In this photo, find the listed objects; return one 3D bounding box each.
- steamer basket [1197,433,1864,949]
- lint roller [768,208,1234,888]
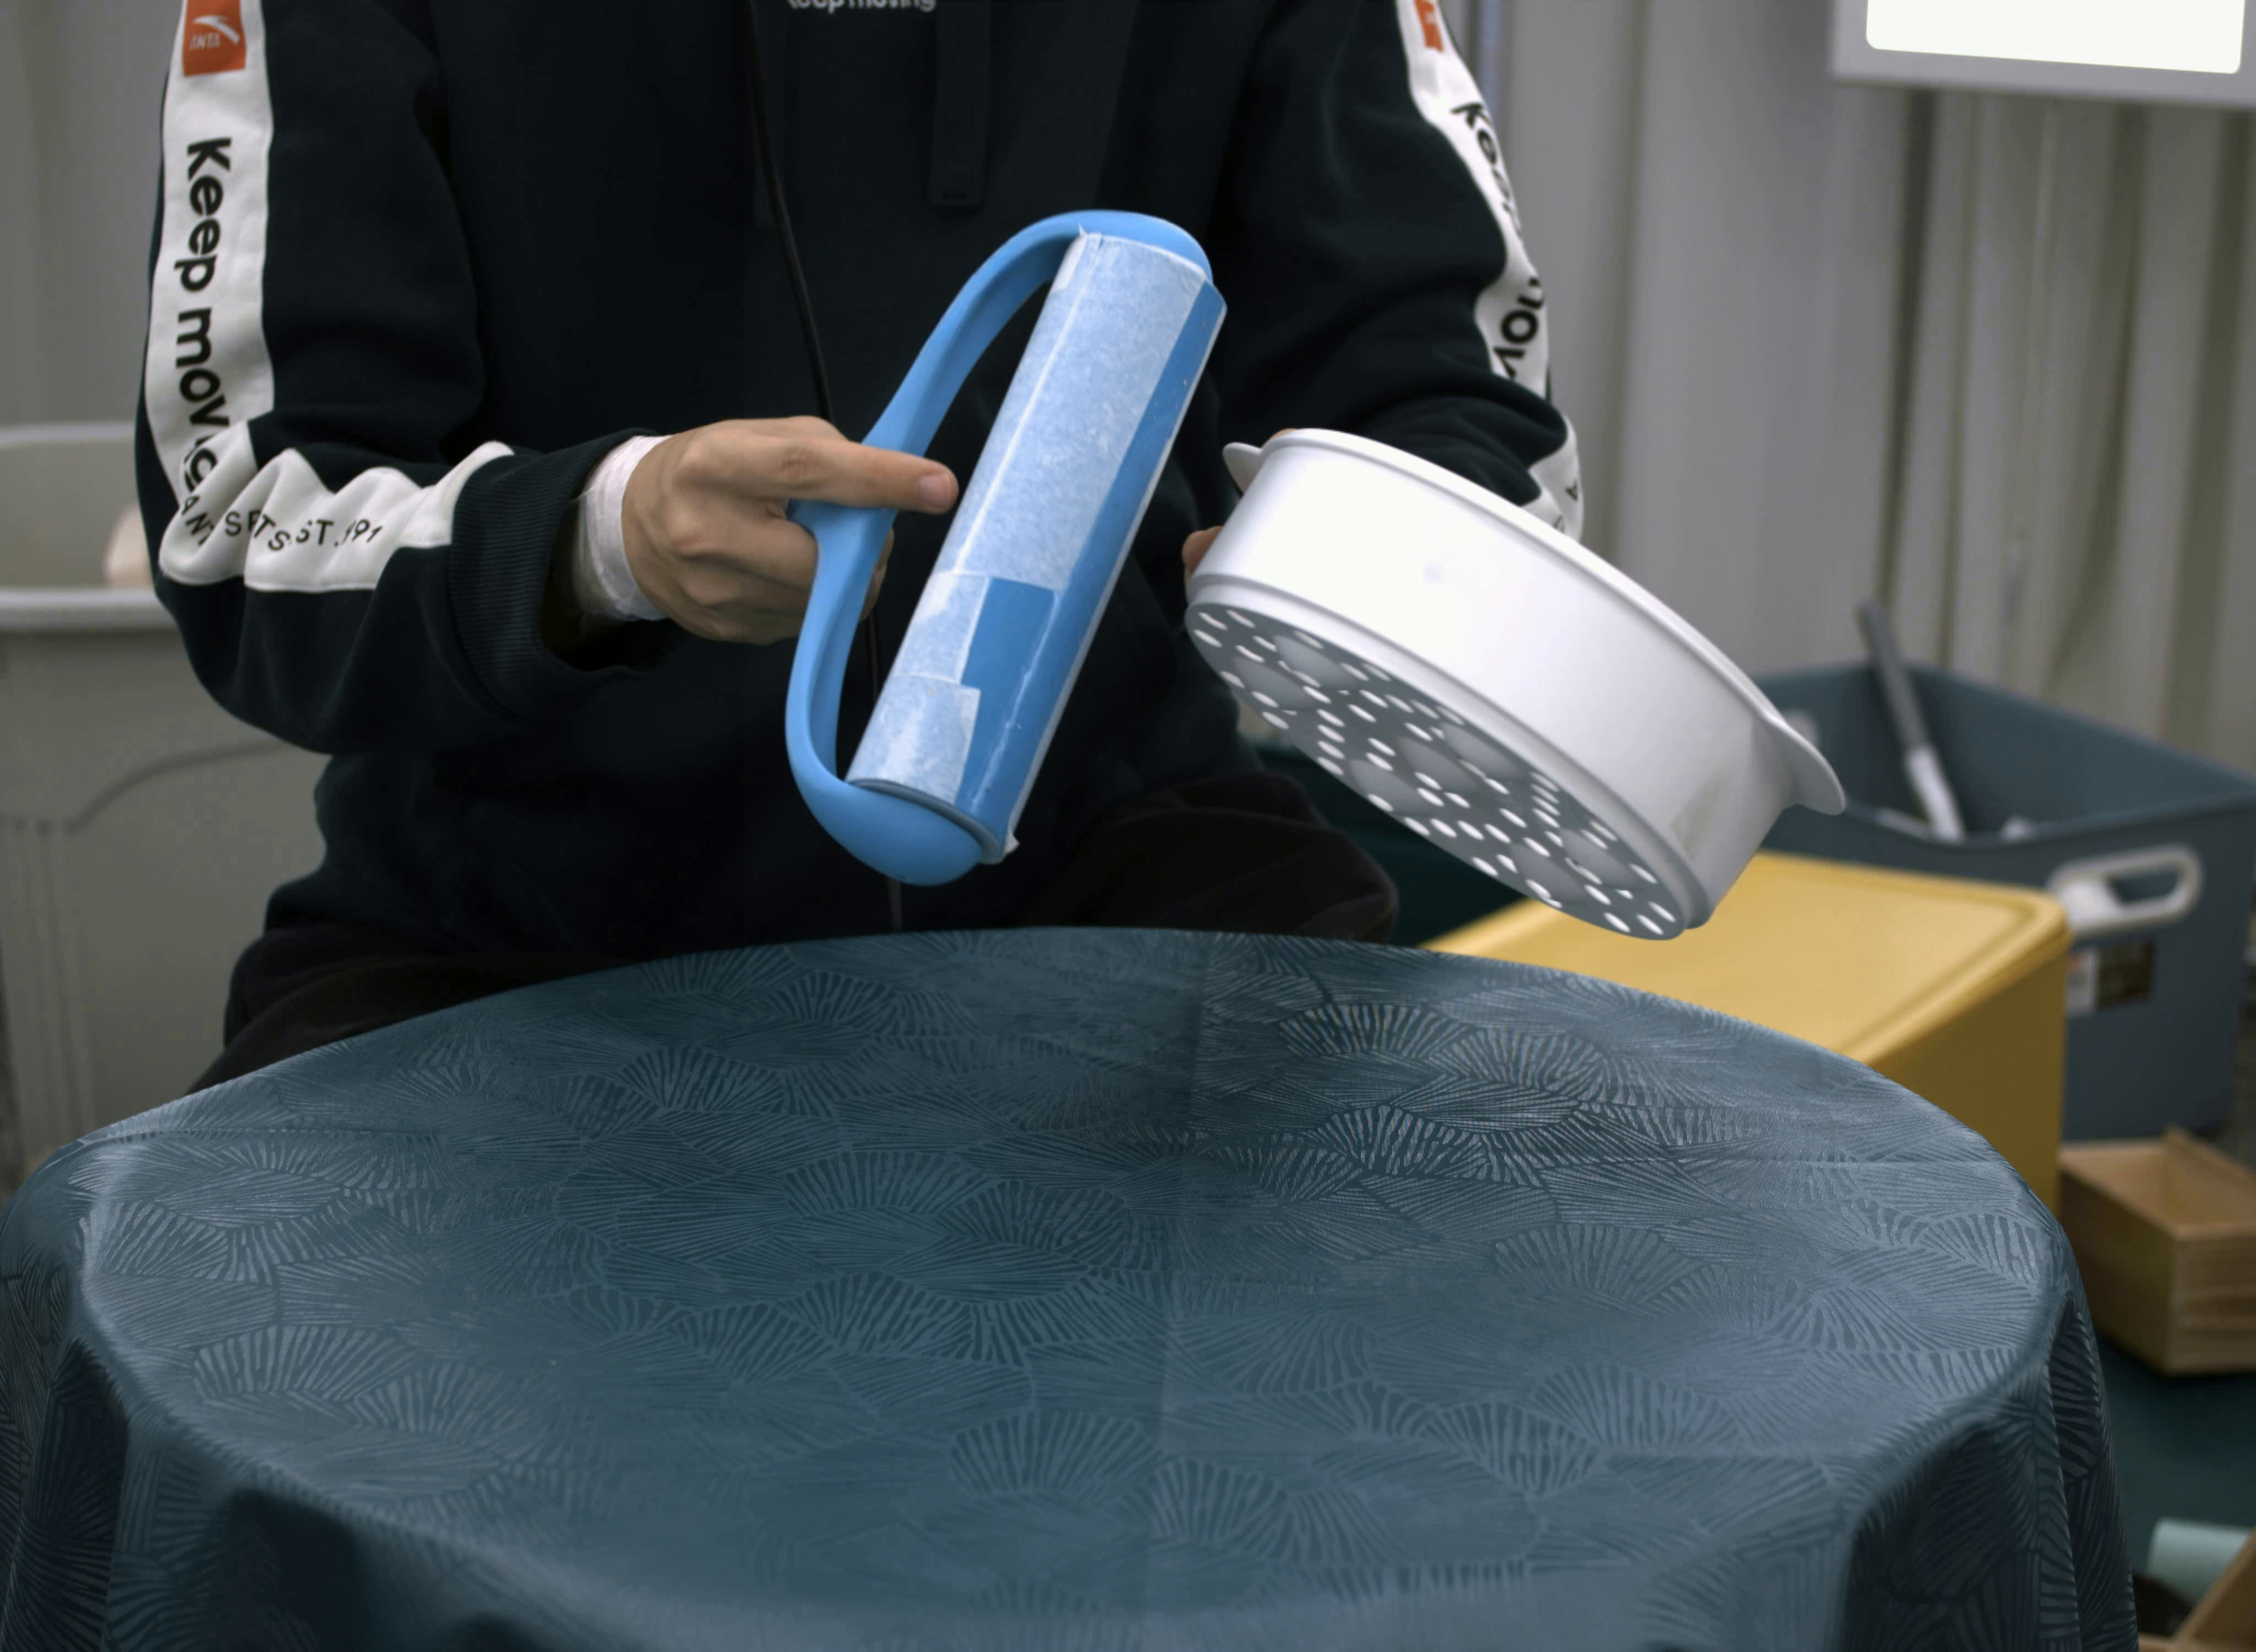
[{"bbox_3d":[0.115,-0.037,1.639,0.228,0.069,0.204,27,-14,22],"label":"steamer basket"},{"bbox_3d":[-0.066,-0.085,1.650,0.178,0.228,0.069,-2,-27,43],"label":"lint roller"}]
